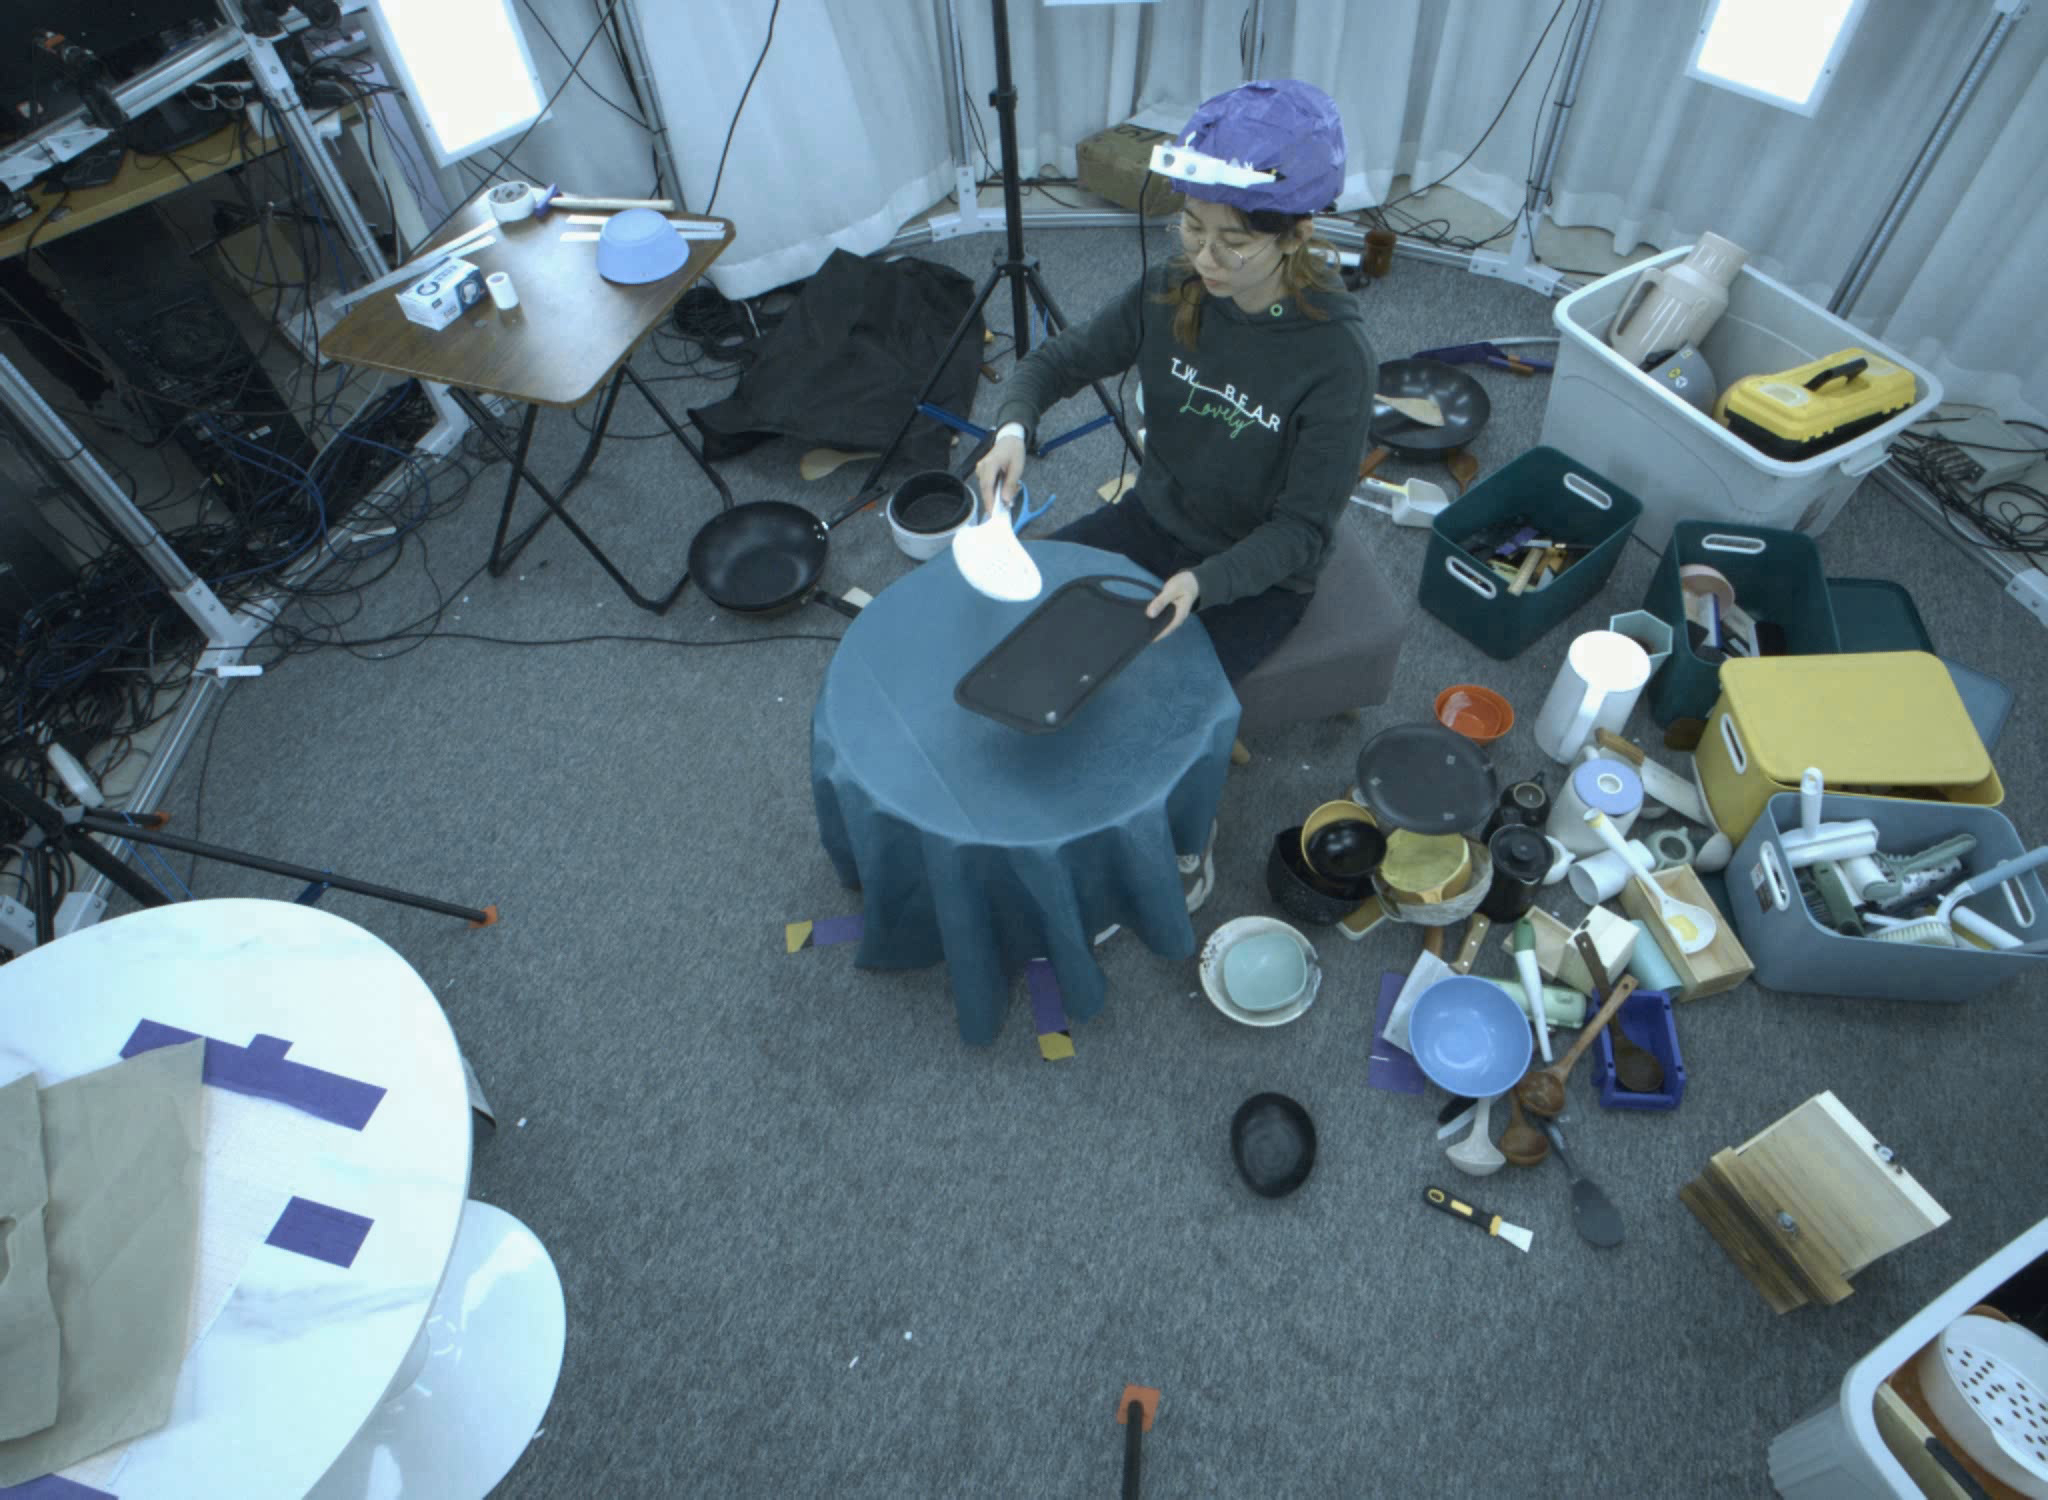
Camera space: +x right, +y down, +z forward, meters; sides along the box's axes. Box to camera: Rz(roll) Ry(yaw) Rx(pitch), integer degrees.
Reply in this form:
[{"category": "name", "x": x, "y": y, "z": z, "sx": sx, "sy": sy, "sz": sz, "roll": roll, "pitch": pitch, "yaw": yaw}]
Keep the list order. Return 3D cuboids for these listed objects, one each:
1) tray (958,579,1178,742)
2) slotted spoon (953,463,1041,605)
[{"category": "tray", "x": 0.066, "y": -0.138, "z": 1.724, "sx": 0.206, "sy": 0.010, "sz": 0.327, "roll": 24, "pitch": 57, "yaw": 36}, {"category": "slotted spoon", "x": -0.033, "y": -0.318, "z": 1.755, "sx": 0.138, "sy": 0.045, "sz": 0.347, "roll": 24, "pitch": 45, "yaw": -17}]
